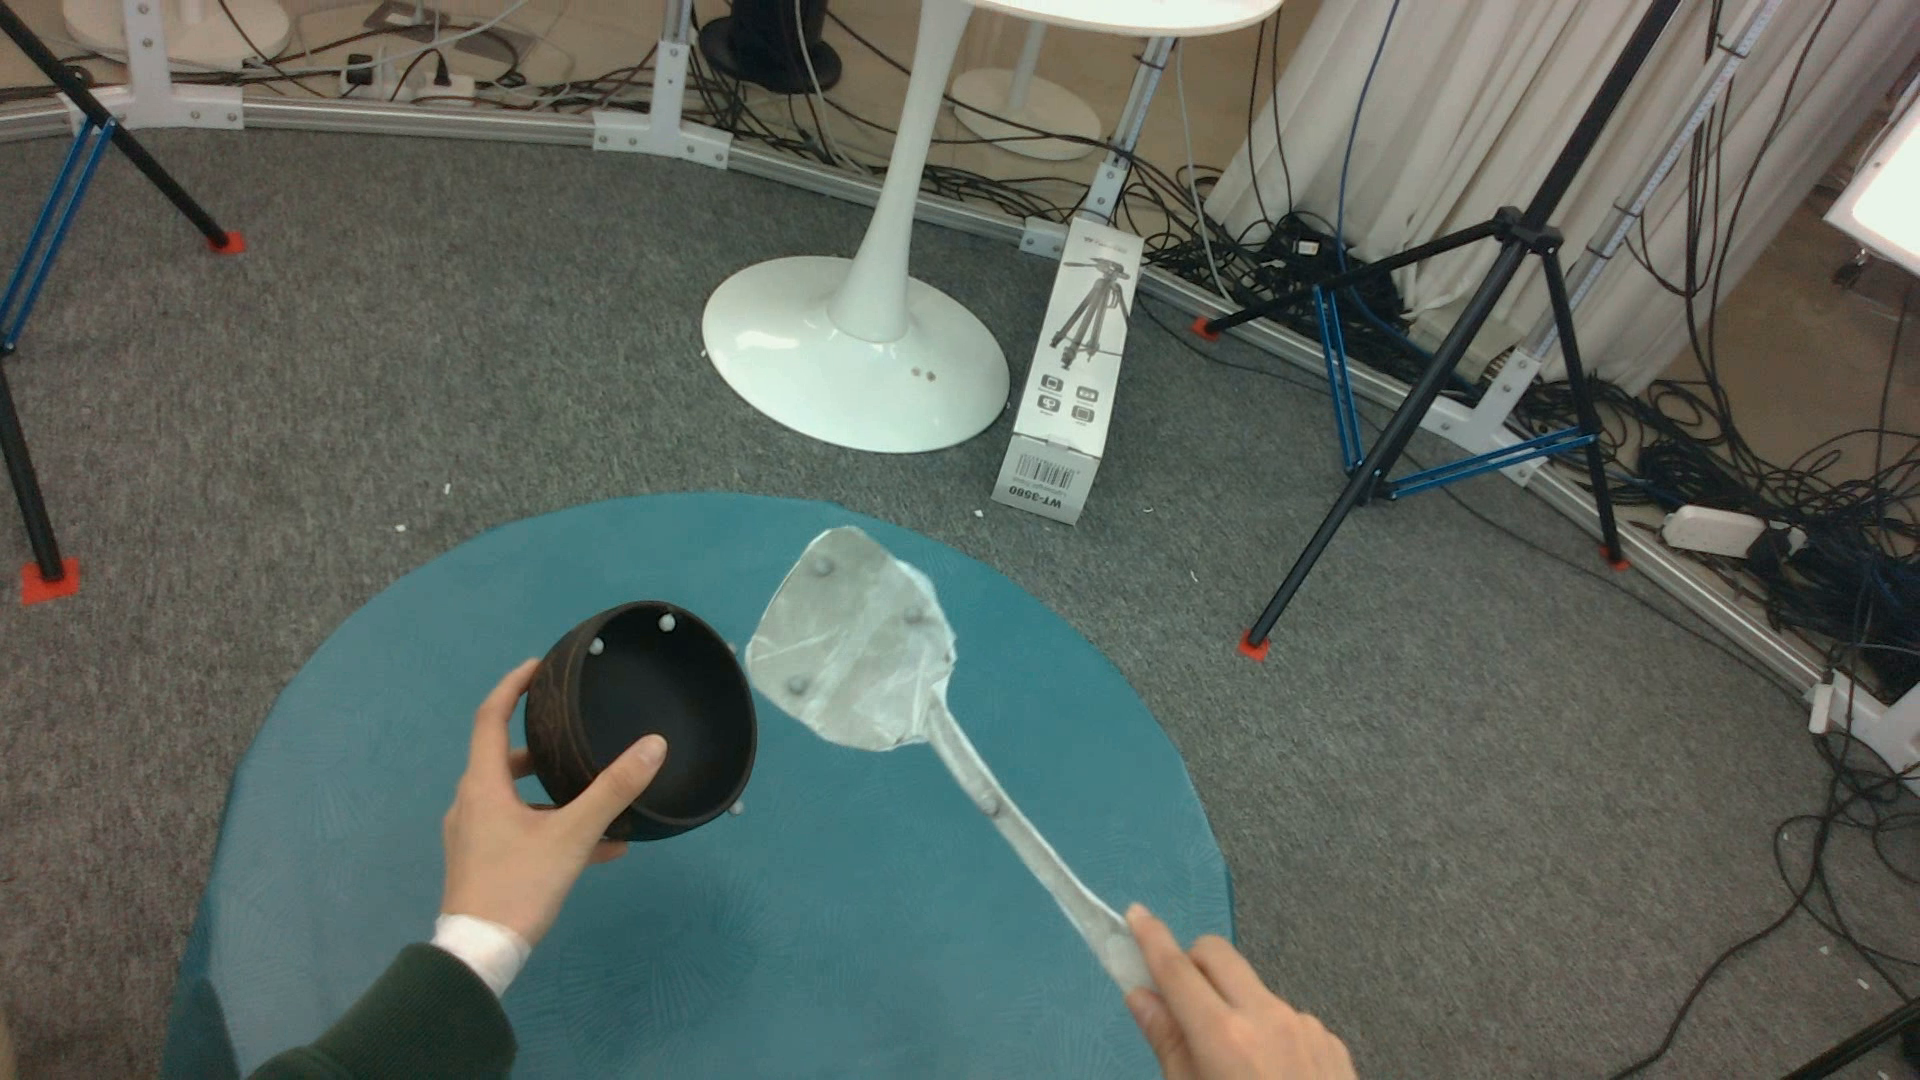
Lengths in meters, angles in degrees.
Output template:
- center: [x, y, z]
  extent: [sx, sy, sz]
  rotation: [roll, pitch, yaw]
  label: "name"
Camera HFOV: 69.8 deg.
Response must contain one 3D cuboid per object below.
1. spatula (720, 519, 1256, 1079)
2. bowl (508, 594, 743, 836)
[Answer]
- center: [0.019, 0.129, 0.597]
  extent: [0.365, 0.098, 0.045]
  rotation: [45, 15, 33]
  label: "spatula"
- center: [-0.175, 0.092, 0.694]
  extent: [0.118, 0.069, 0.118]
  rotation: [31, 46, -39]
  label: "bowl"
